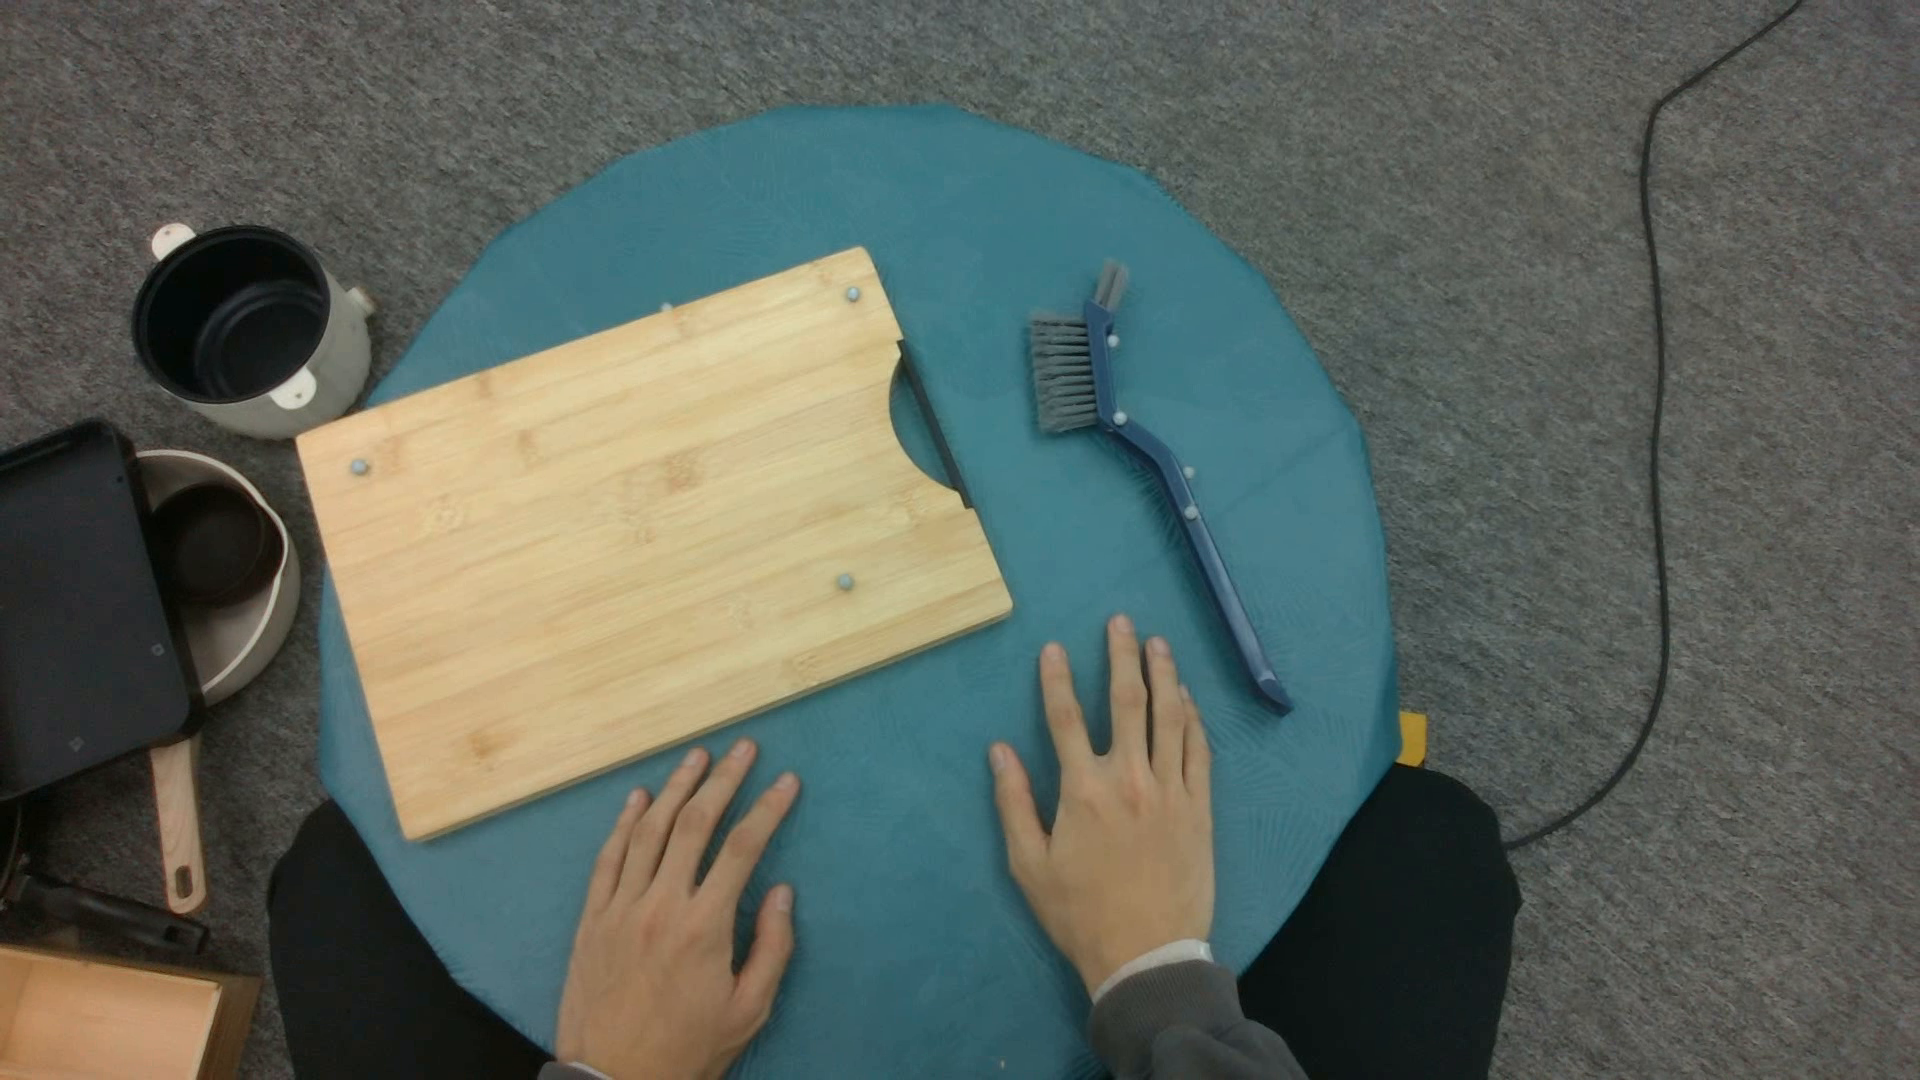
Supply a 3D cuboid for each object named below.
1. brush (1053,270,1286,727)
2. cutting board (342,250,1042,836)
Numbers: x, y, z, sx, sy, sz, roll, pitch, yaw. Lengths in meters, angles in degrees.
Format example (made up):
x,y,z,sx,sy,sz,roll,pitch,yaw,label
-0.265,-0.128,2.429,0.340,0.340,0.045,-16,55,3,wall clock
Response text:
x,y,z,sx,sy,sz,roll,pitch,yaw,label
0.133,-0.028,0.789,0.096,0.033,0.273,-27,74,-8,brush
-0.159,-0.007,0.789,0.349,0.023,0.251,-21,75,-6,cutting board
